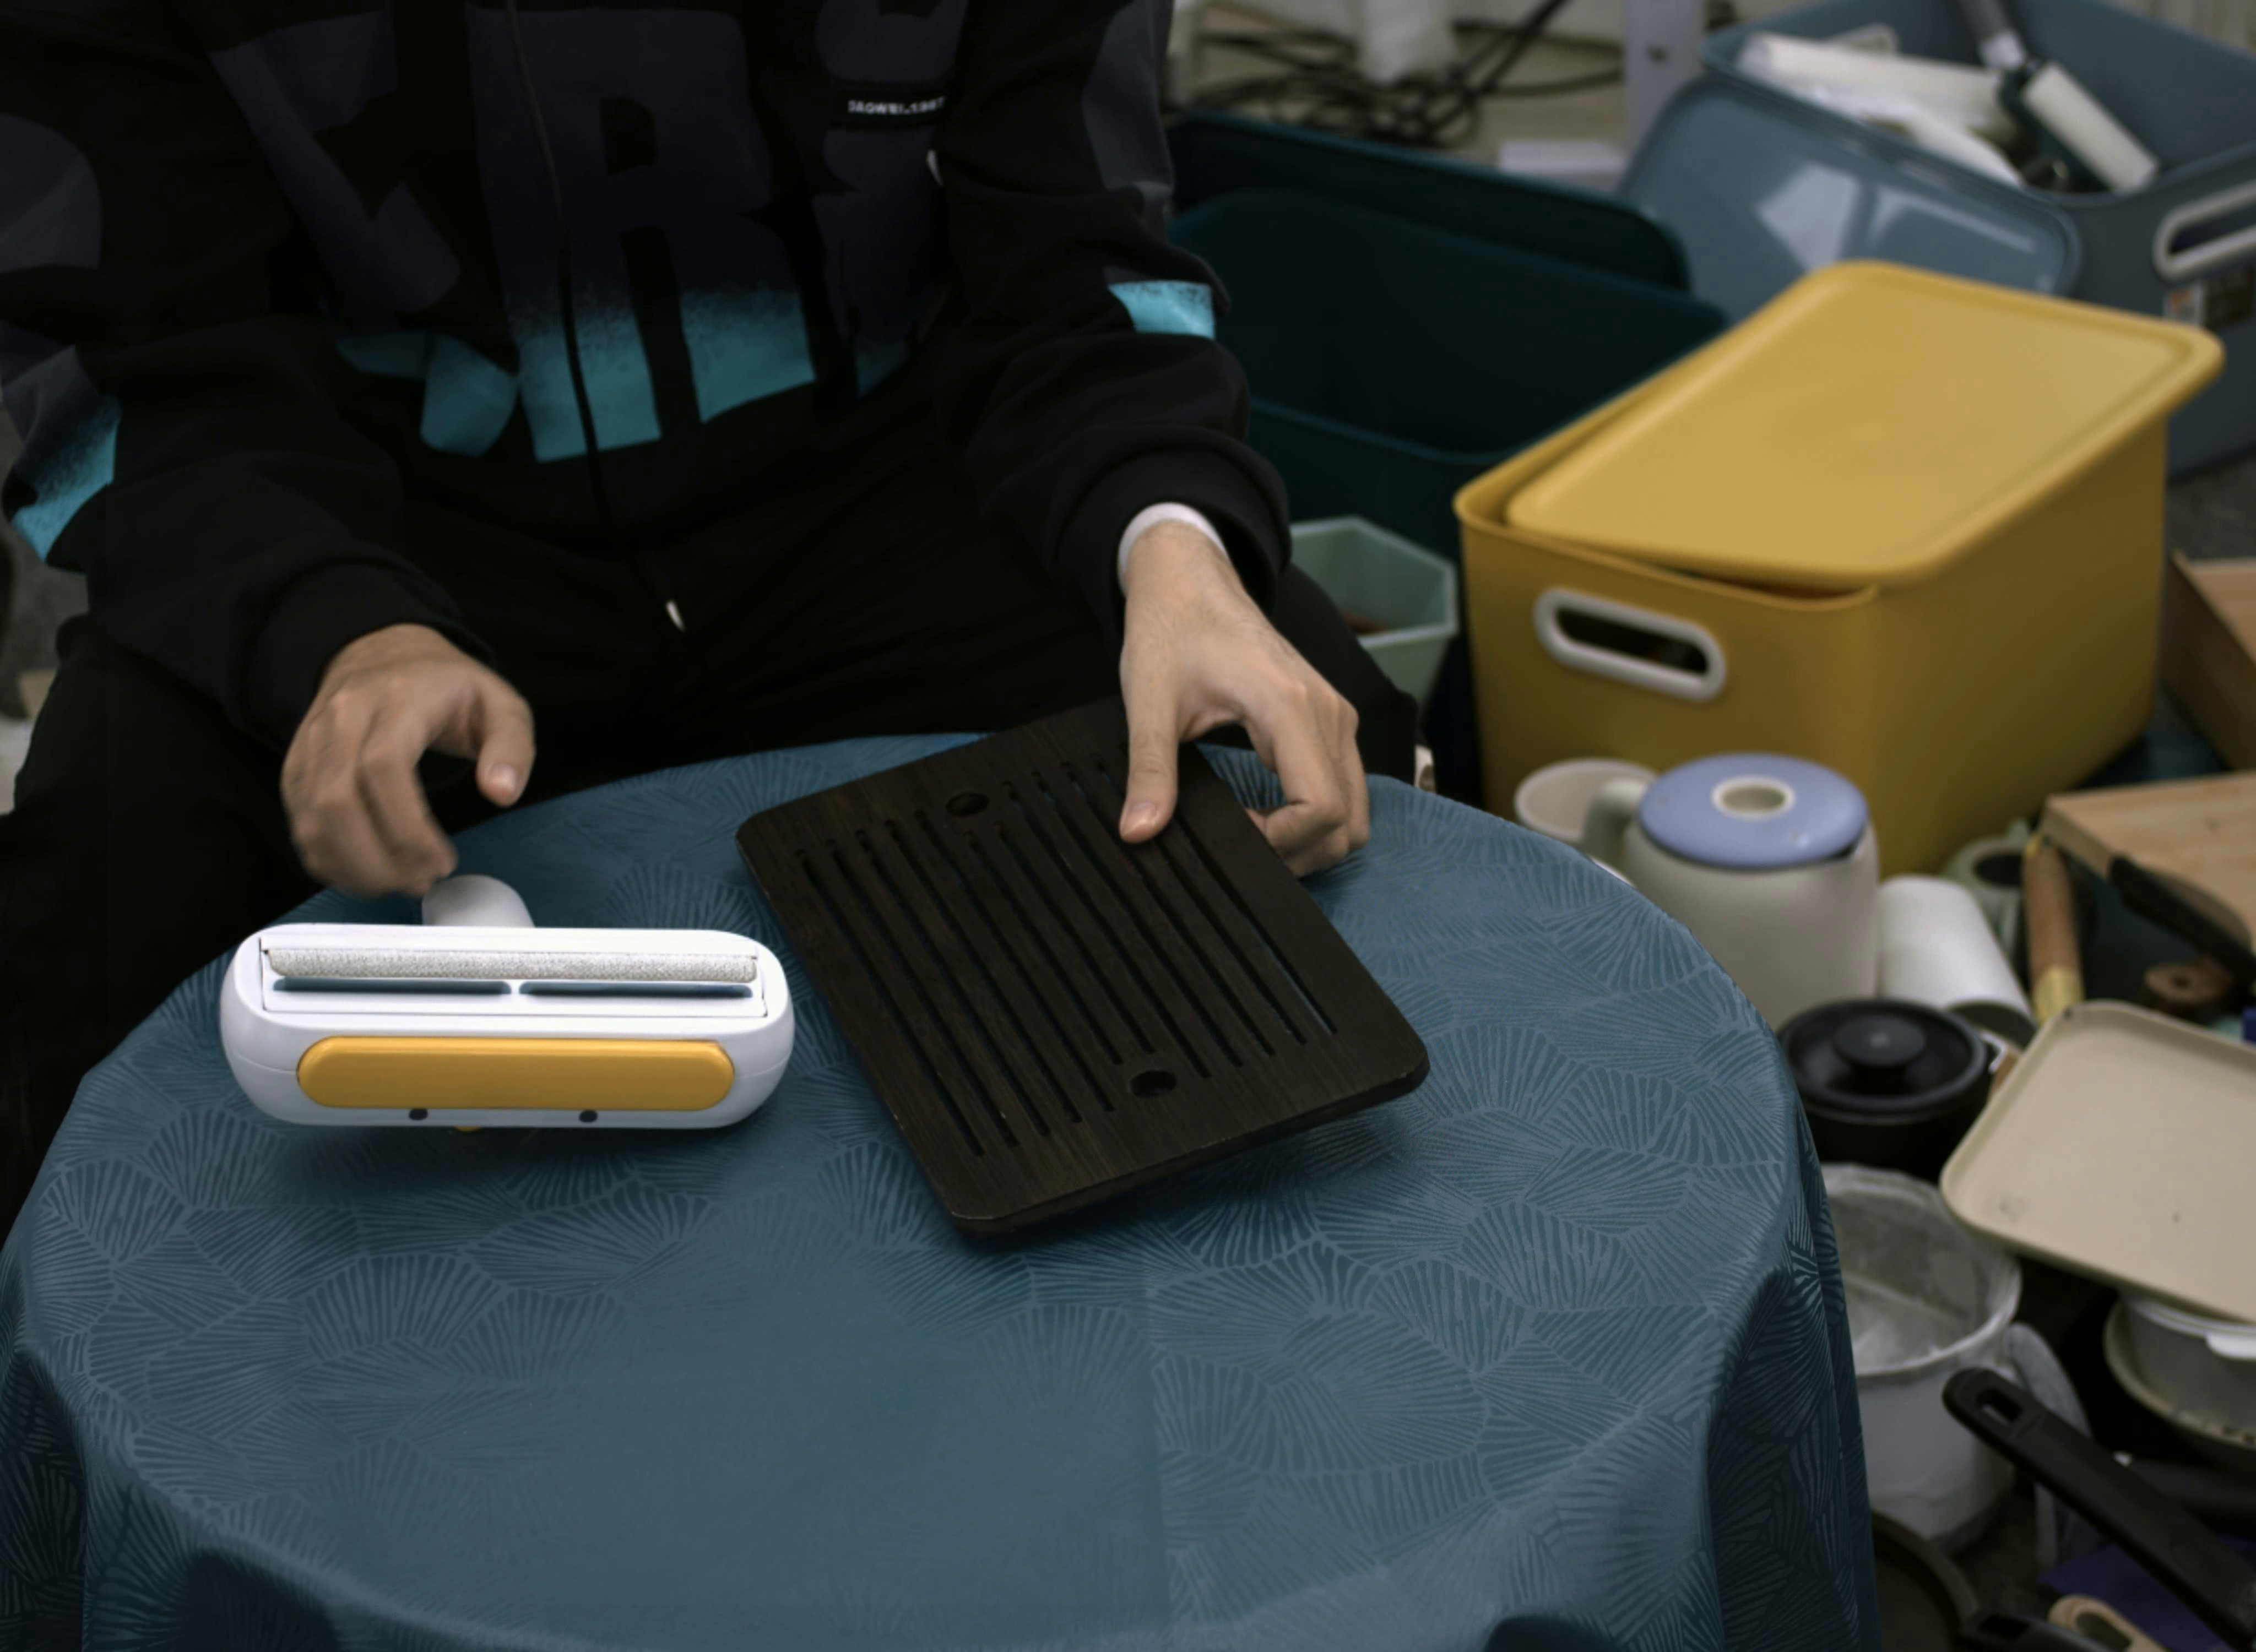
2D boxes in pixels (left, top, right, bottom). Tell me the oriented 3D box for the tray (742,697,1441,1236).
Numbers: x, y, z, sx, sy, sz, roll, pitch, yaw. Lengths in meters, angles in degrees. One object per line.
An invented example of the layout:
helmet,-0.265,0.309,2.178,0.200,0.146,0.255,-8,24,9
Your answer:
tray,-0.019,0.046,1.968,0.170,0.018,0.309,-17,30,-11

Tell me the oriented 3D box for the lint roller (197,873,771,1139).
lint roller,-0.223,0.050,1.949,0.192,0.073,0.195,-1,25,-8
